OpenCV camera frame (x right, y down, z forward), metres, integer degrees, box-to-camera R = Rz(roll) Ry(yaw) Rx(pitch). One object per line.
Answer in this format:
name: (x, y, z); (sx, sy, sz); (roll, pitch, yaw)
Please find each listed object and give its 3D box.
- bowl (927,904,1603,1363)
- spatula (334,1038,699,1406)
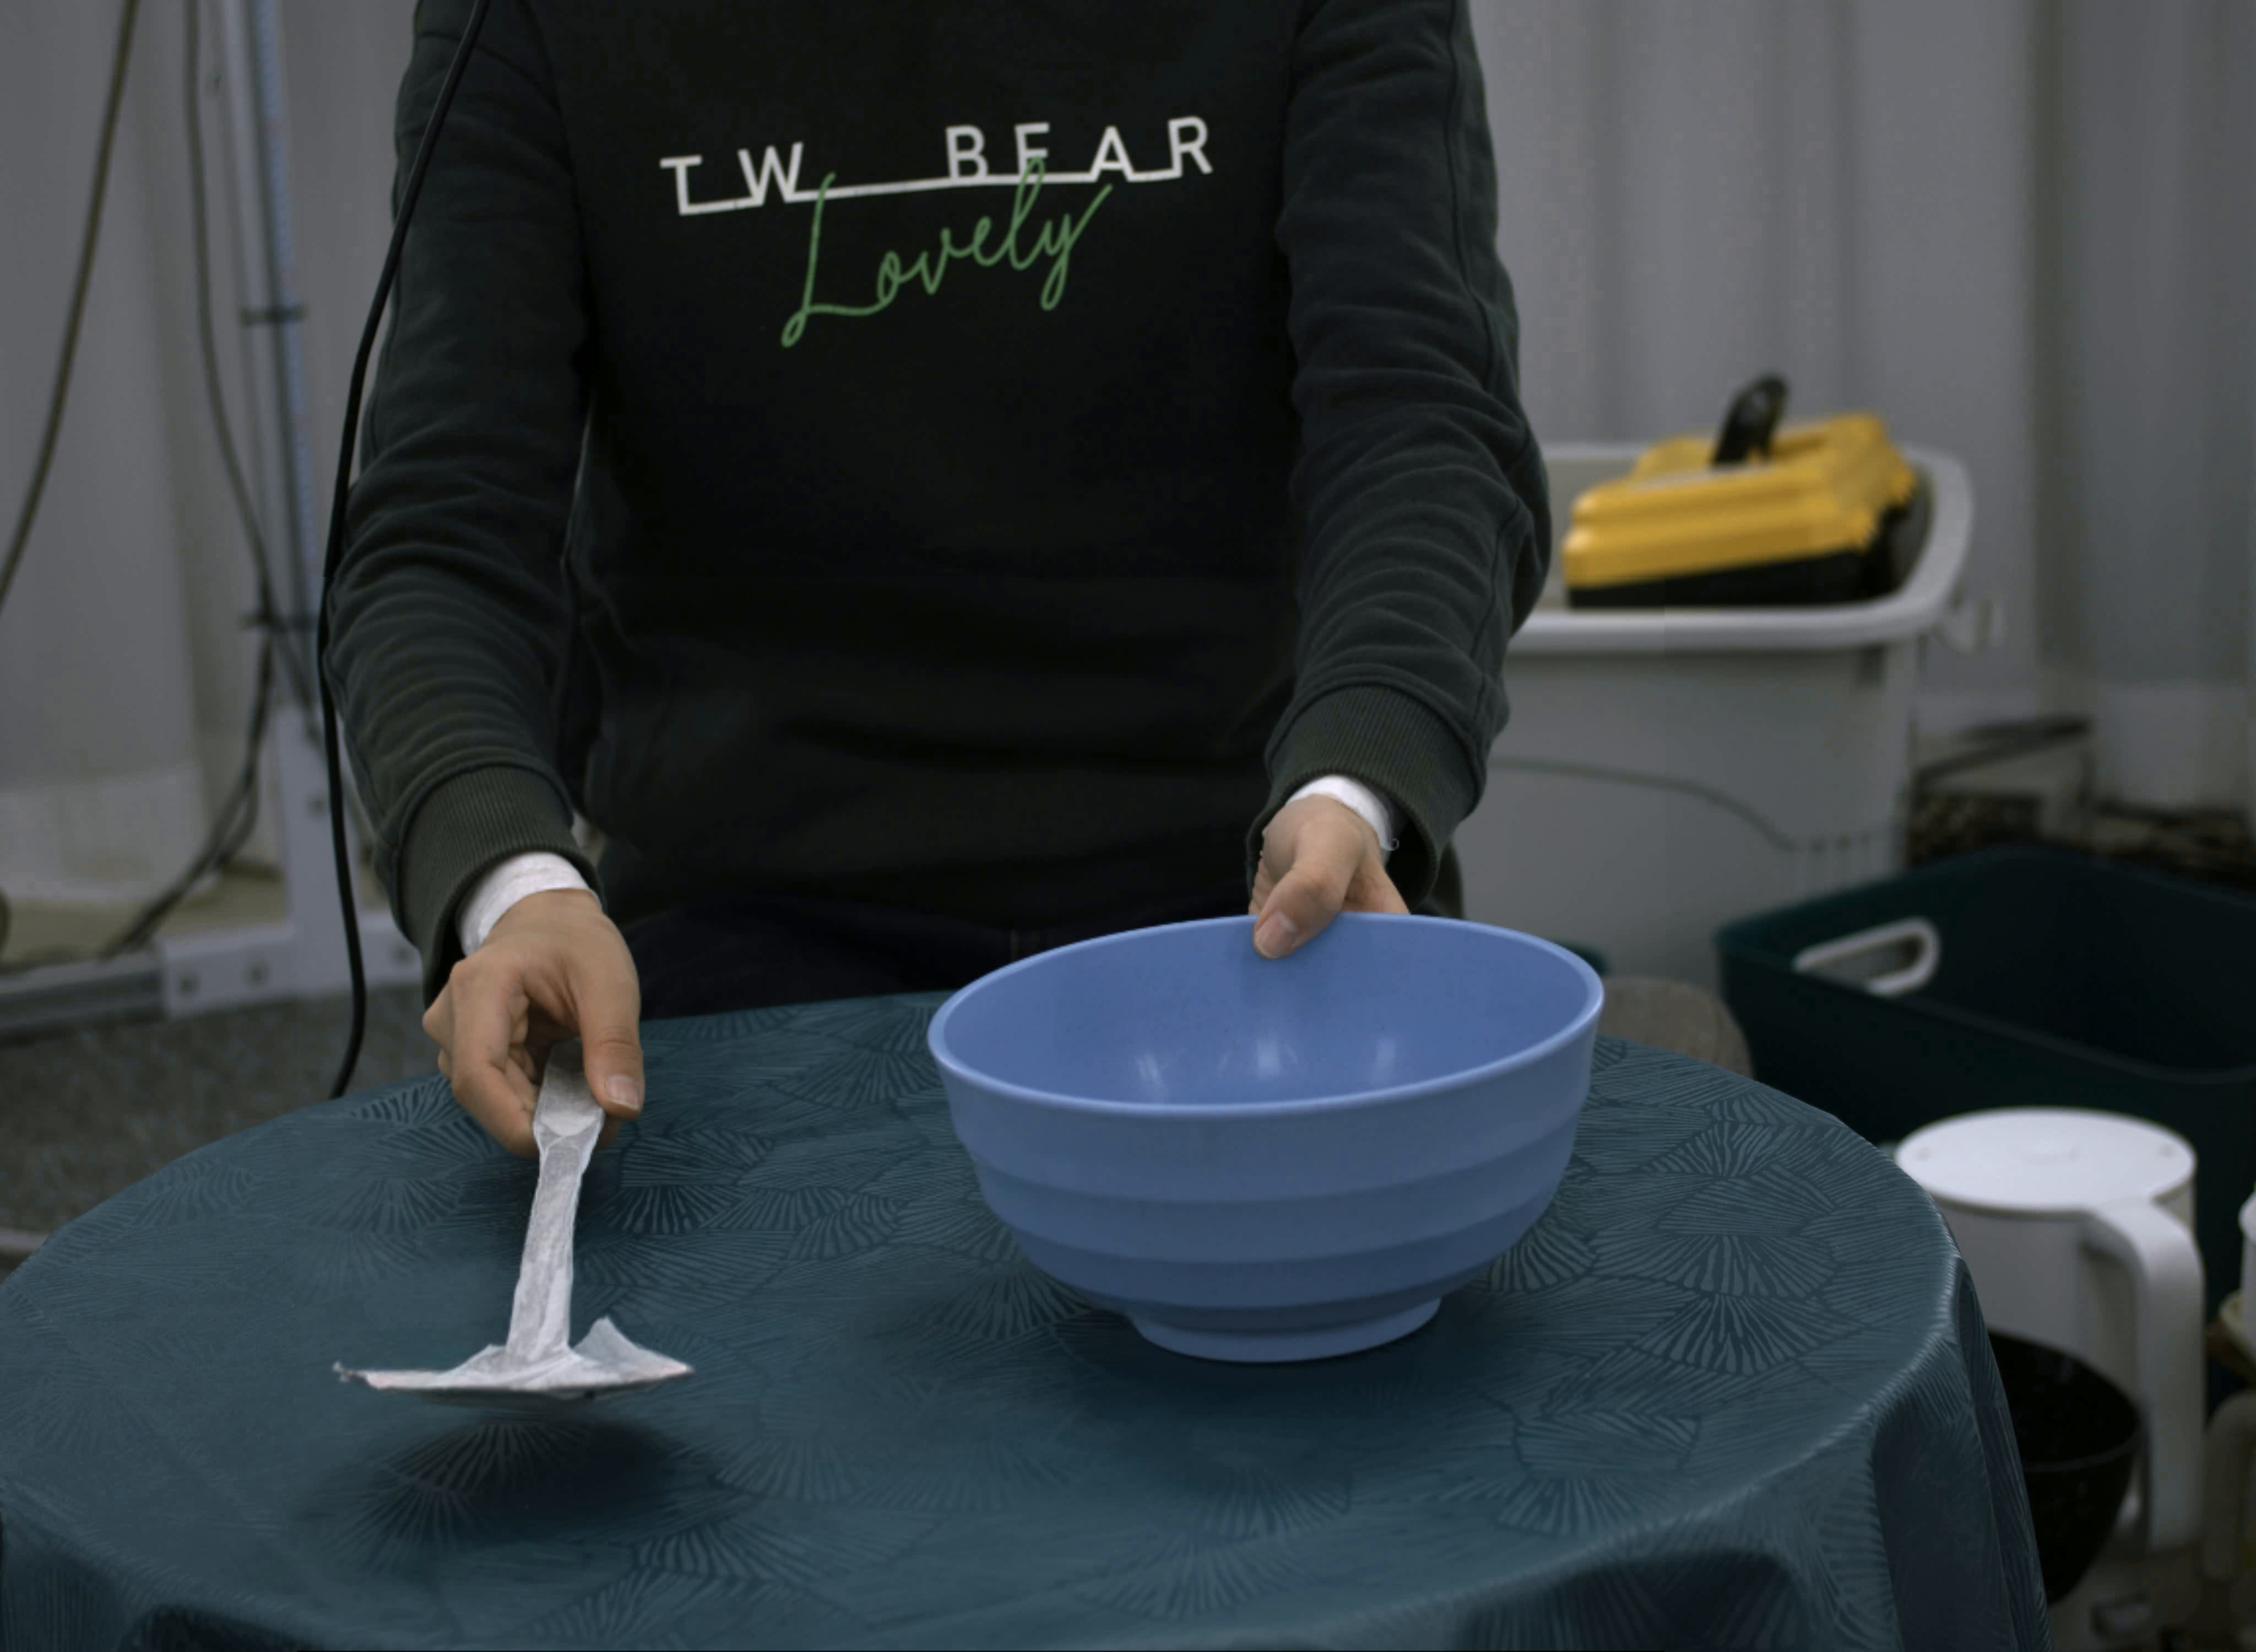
bowl: (0.043, 0.095, 1.589); (0.196, 0.095, 0.198); (-5, 15, 1)
spatula: (-0.166, 0.109, 1.623); (0.098, 0.044, 0.368); (-1, 18, 0)
